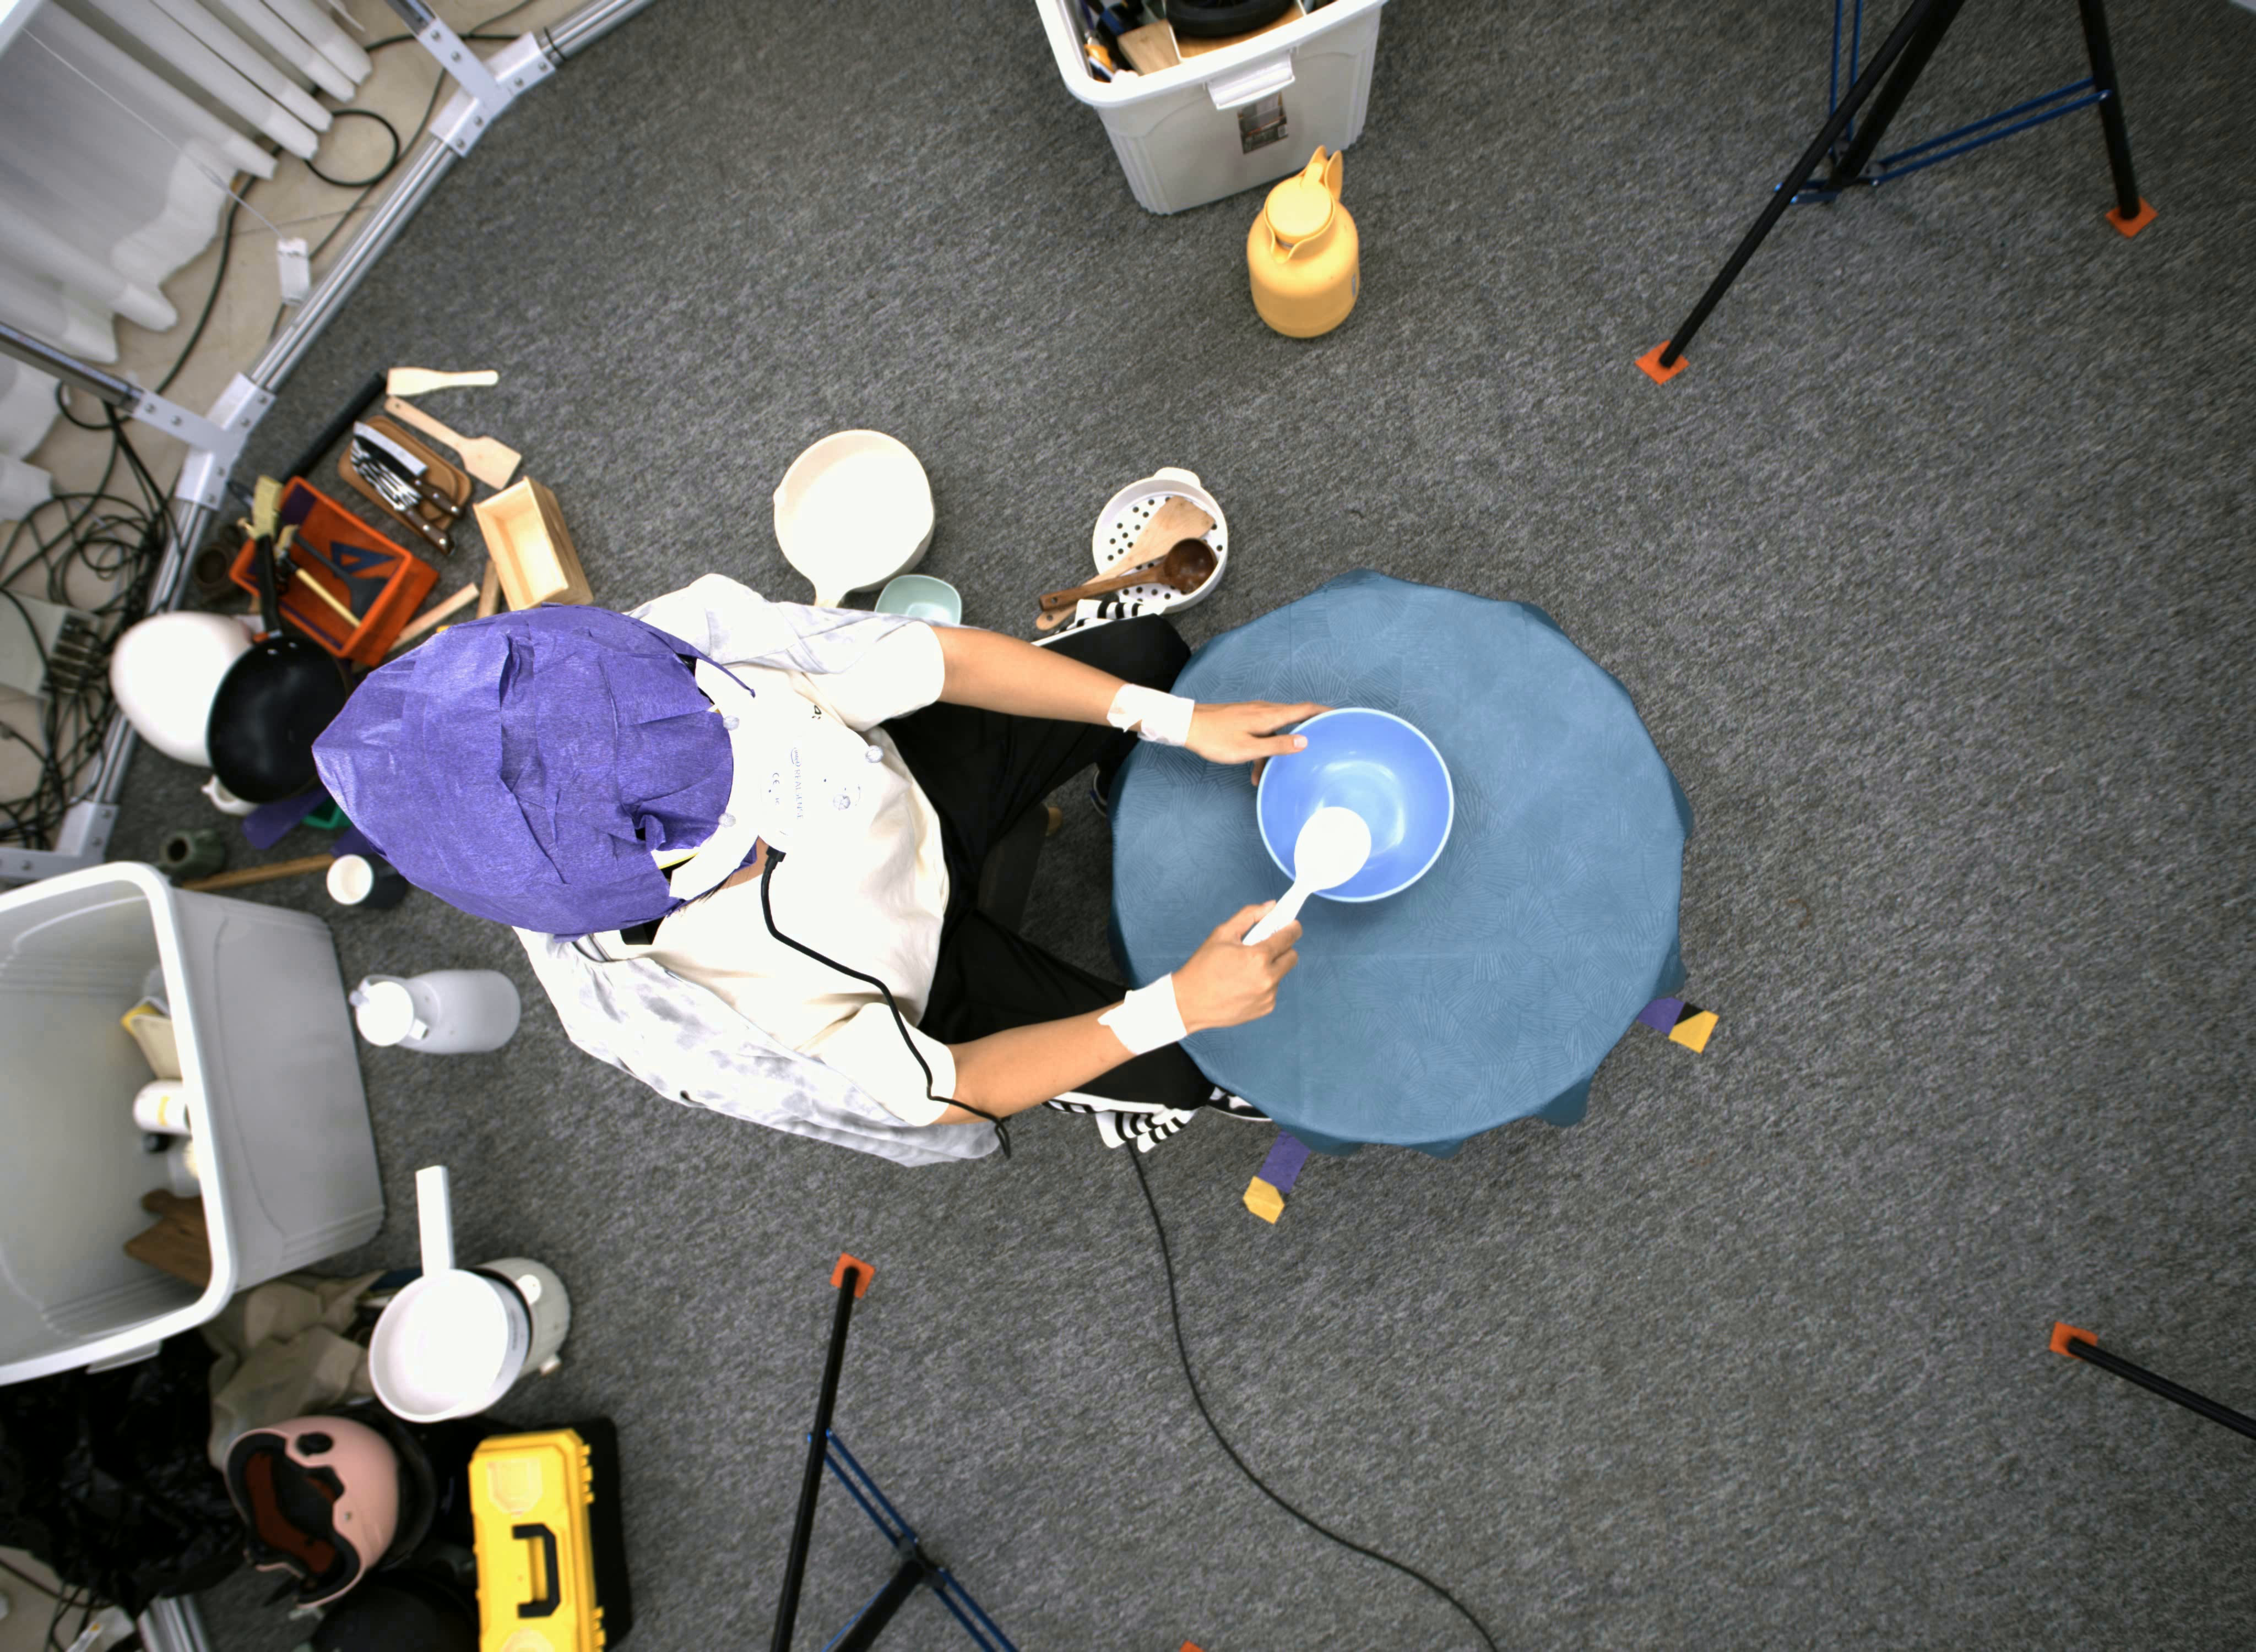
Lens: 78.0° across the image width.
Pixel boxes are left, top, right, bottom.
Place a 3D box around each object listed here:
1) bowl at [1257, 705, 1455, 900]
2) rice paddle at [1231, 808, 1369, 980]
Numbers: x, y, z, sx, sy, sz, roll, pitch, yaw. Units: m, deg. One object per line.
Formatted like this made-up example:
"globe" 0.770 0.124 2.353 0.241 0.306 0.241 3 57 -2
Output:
"bowl" 0.233 -0.021 1.421 0.197 0.095 0.196 -1 87 9
"rice paddle" 0.168 0.061 1.342 0.069 0.030 0.202 37 70 4
